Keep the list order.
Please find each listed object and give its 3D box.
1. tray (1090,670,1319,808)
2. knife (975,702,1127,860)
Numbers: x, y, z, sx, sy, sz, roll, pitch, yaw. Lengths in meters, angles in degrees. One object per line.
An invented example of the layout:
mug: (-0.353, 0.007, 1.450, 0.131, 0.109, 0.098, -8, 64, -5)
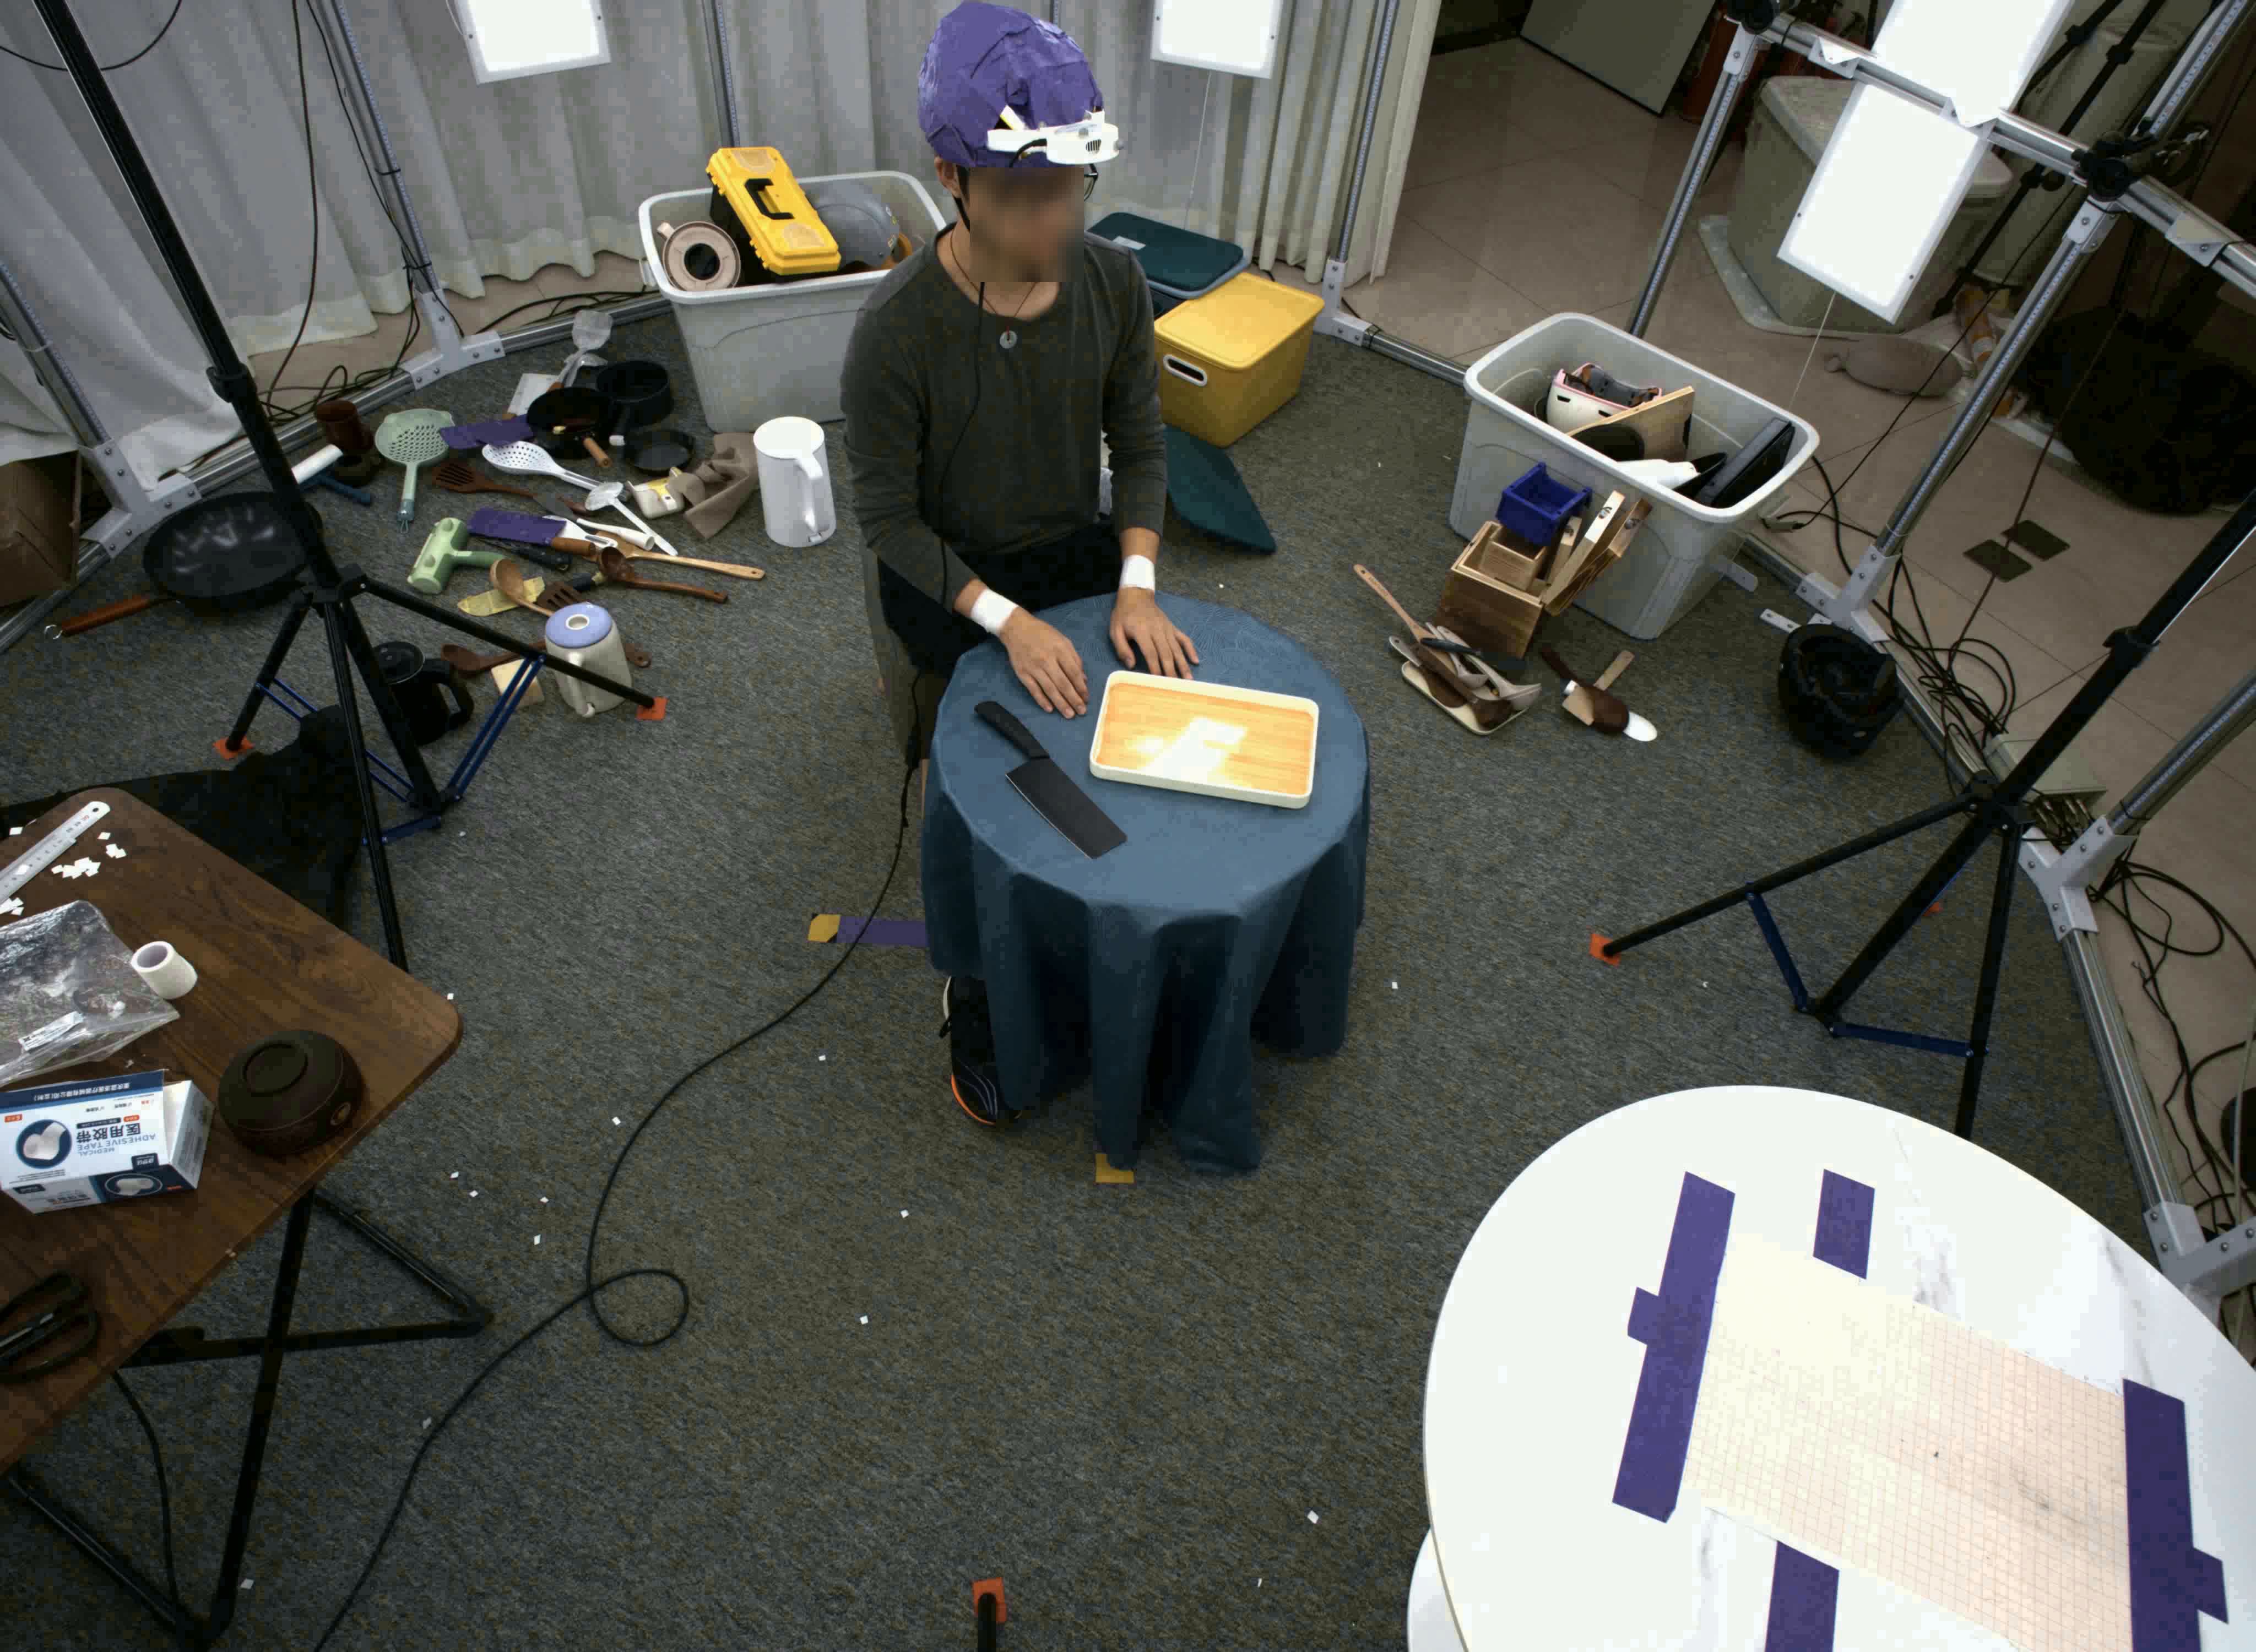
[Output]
tray: (0.107, -0.122, 1.763, 0.300, 0.027, 0.196, 9, 49, 4)
knife: (-0.115, -0.067, 1.709, 0.081, 0.020, 0.308, -26, 57, -23)
